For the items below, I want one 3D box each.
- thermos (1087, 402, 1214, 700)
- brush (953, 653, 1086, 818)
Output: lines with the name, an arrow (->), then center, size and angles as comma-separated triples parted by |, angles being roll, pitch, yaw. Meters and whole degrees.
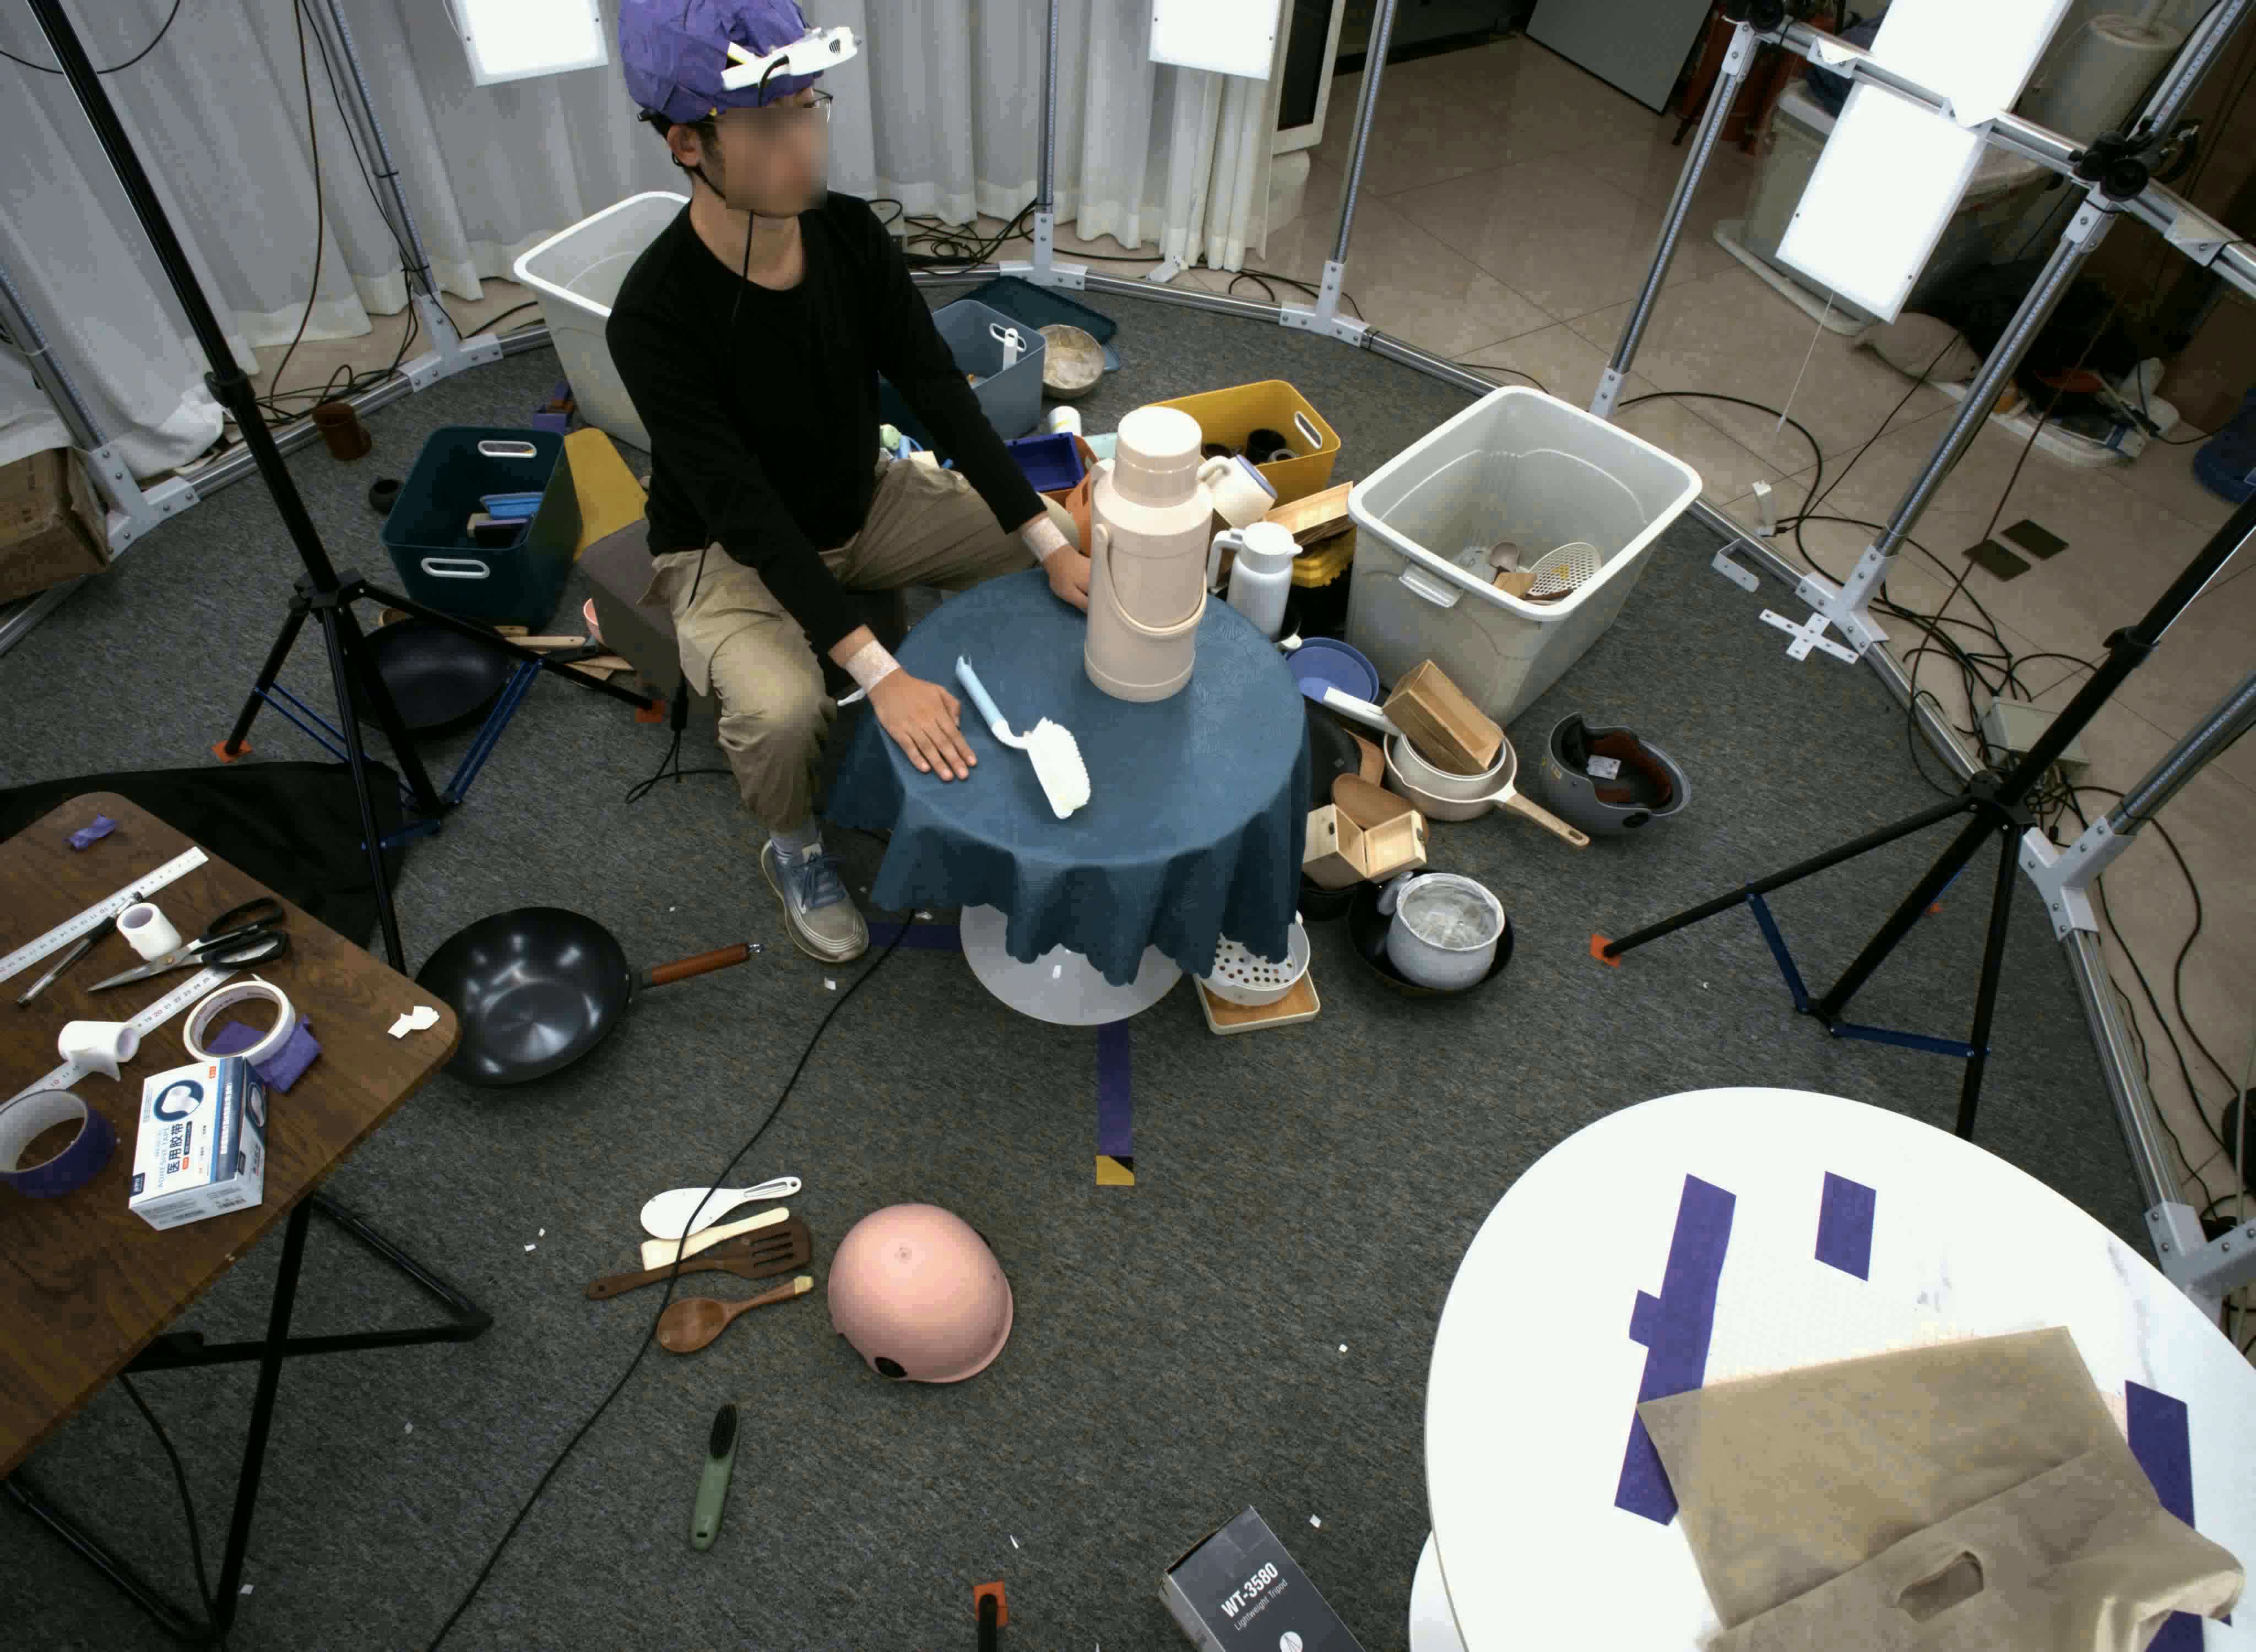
thermos -> 0.021, -0.374, 1.739 | 0.176, 0.396, 0.211 | -30, 58, -25
brush -> -0.143, -0.148, 1.737 | 0.085, 0.081, 0.332 | -24, 56, -16
